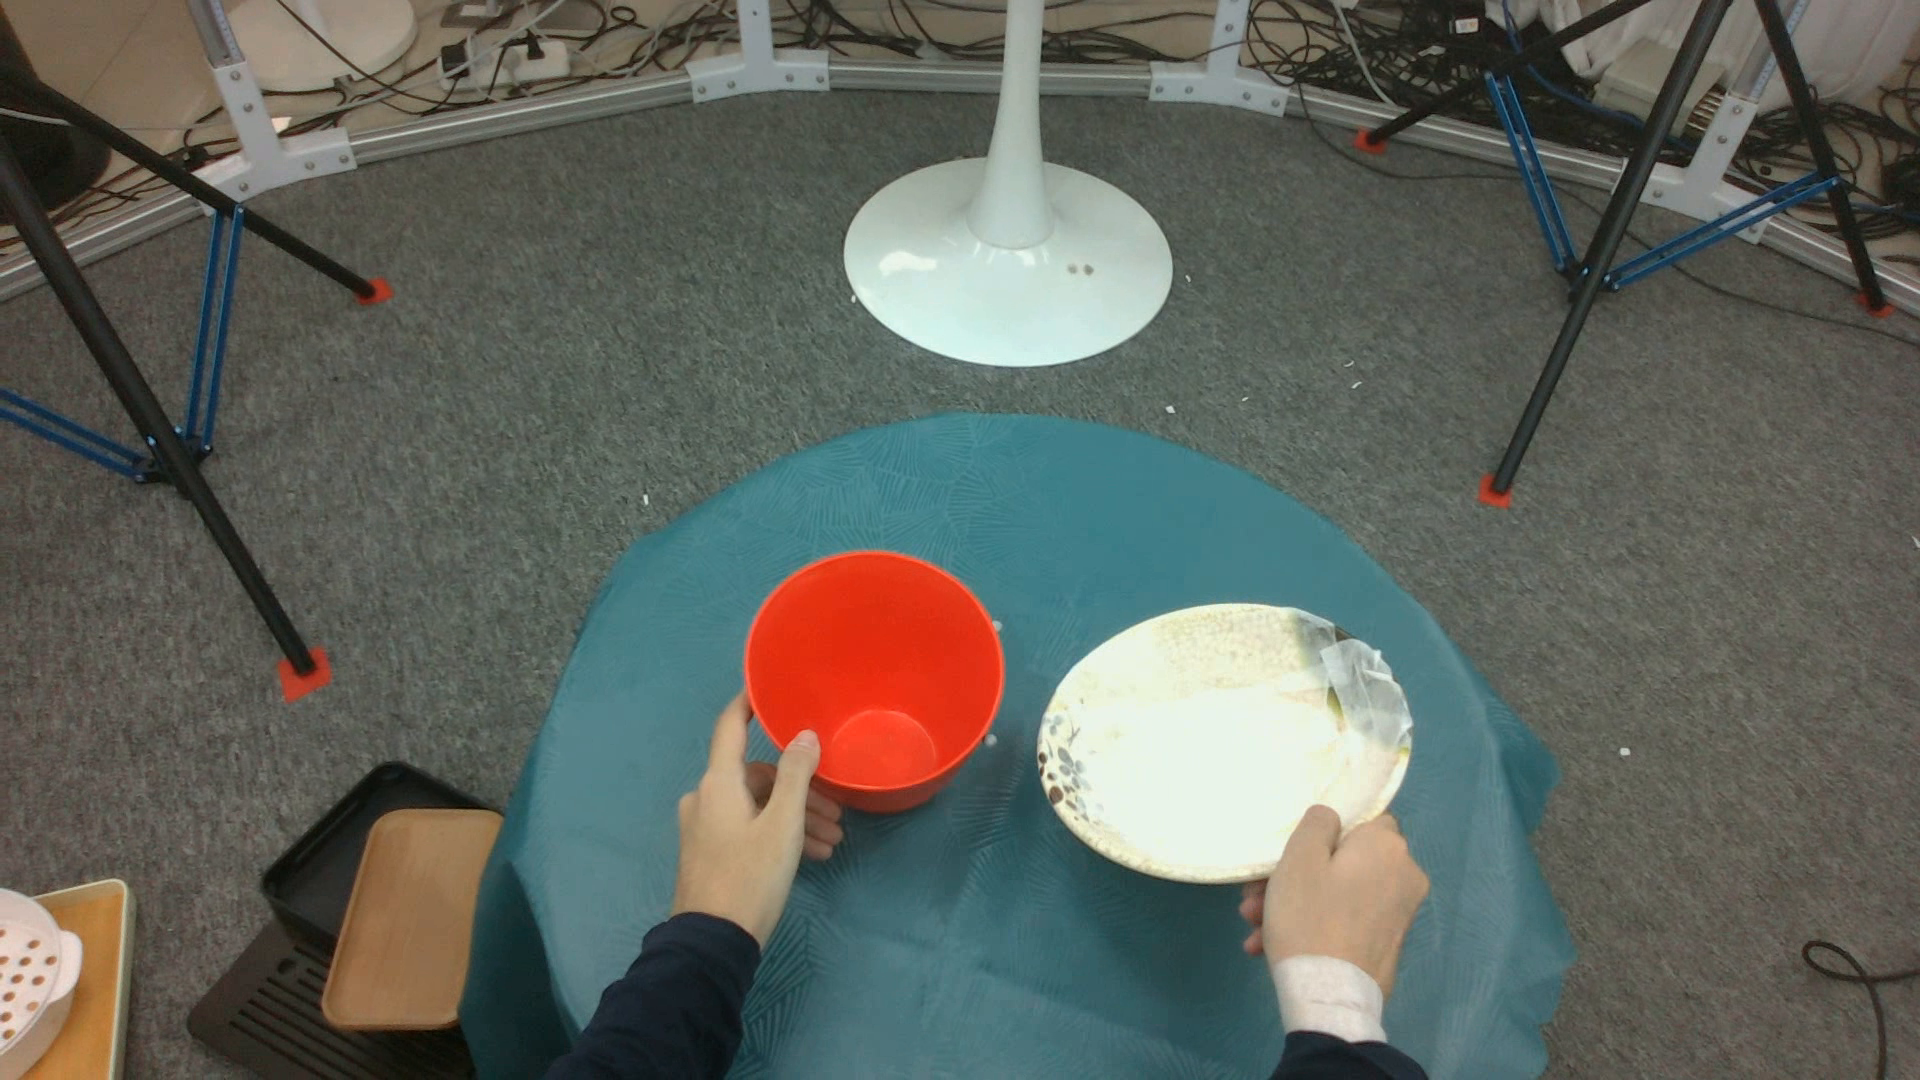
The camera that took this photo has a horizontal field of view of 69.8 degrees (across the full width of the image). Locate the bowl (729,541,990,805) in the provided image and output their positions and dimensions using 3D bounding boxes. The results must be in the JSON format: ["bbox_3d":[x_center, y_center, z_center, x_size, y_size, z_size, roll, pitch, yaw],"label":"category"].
[{"bbox_3d":[-0.059,0.090,0.810,0.148,0.104,0.148,3,51,-3],"label":"bowl"}]

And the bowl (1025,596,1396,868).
[{"bbox_3d":[0.144,0.126,0.781,0.204,0.077,0.205,-11,36,9],"label":"bowl"}]
